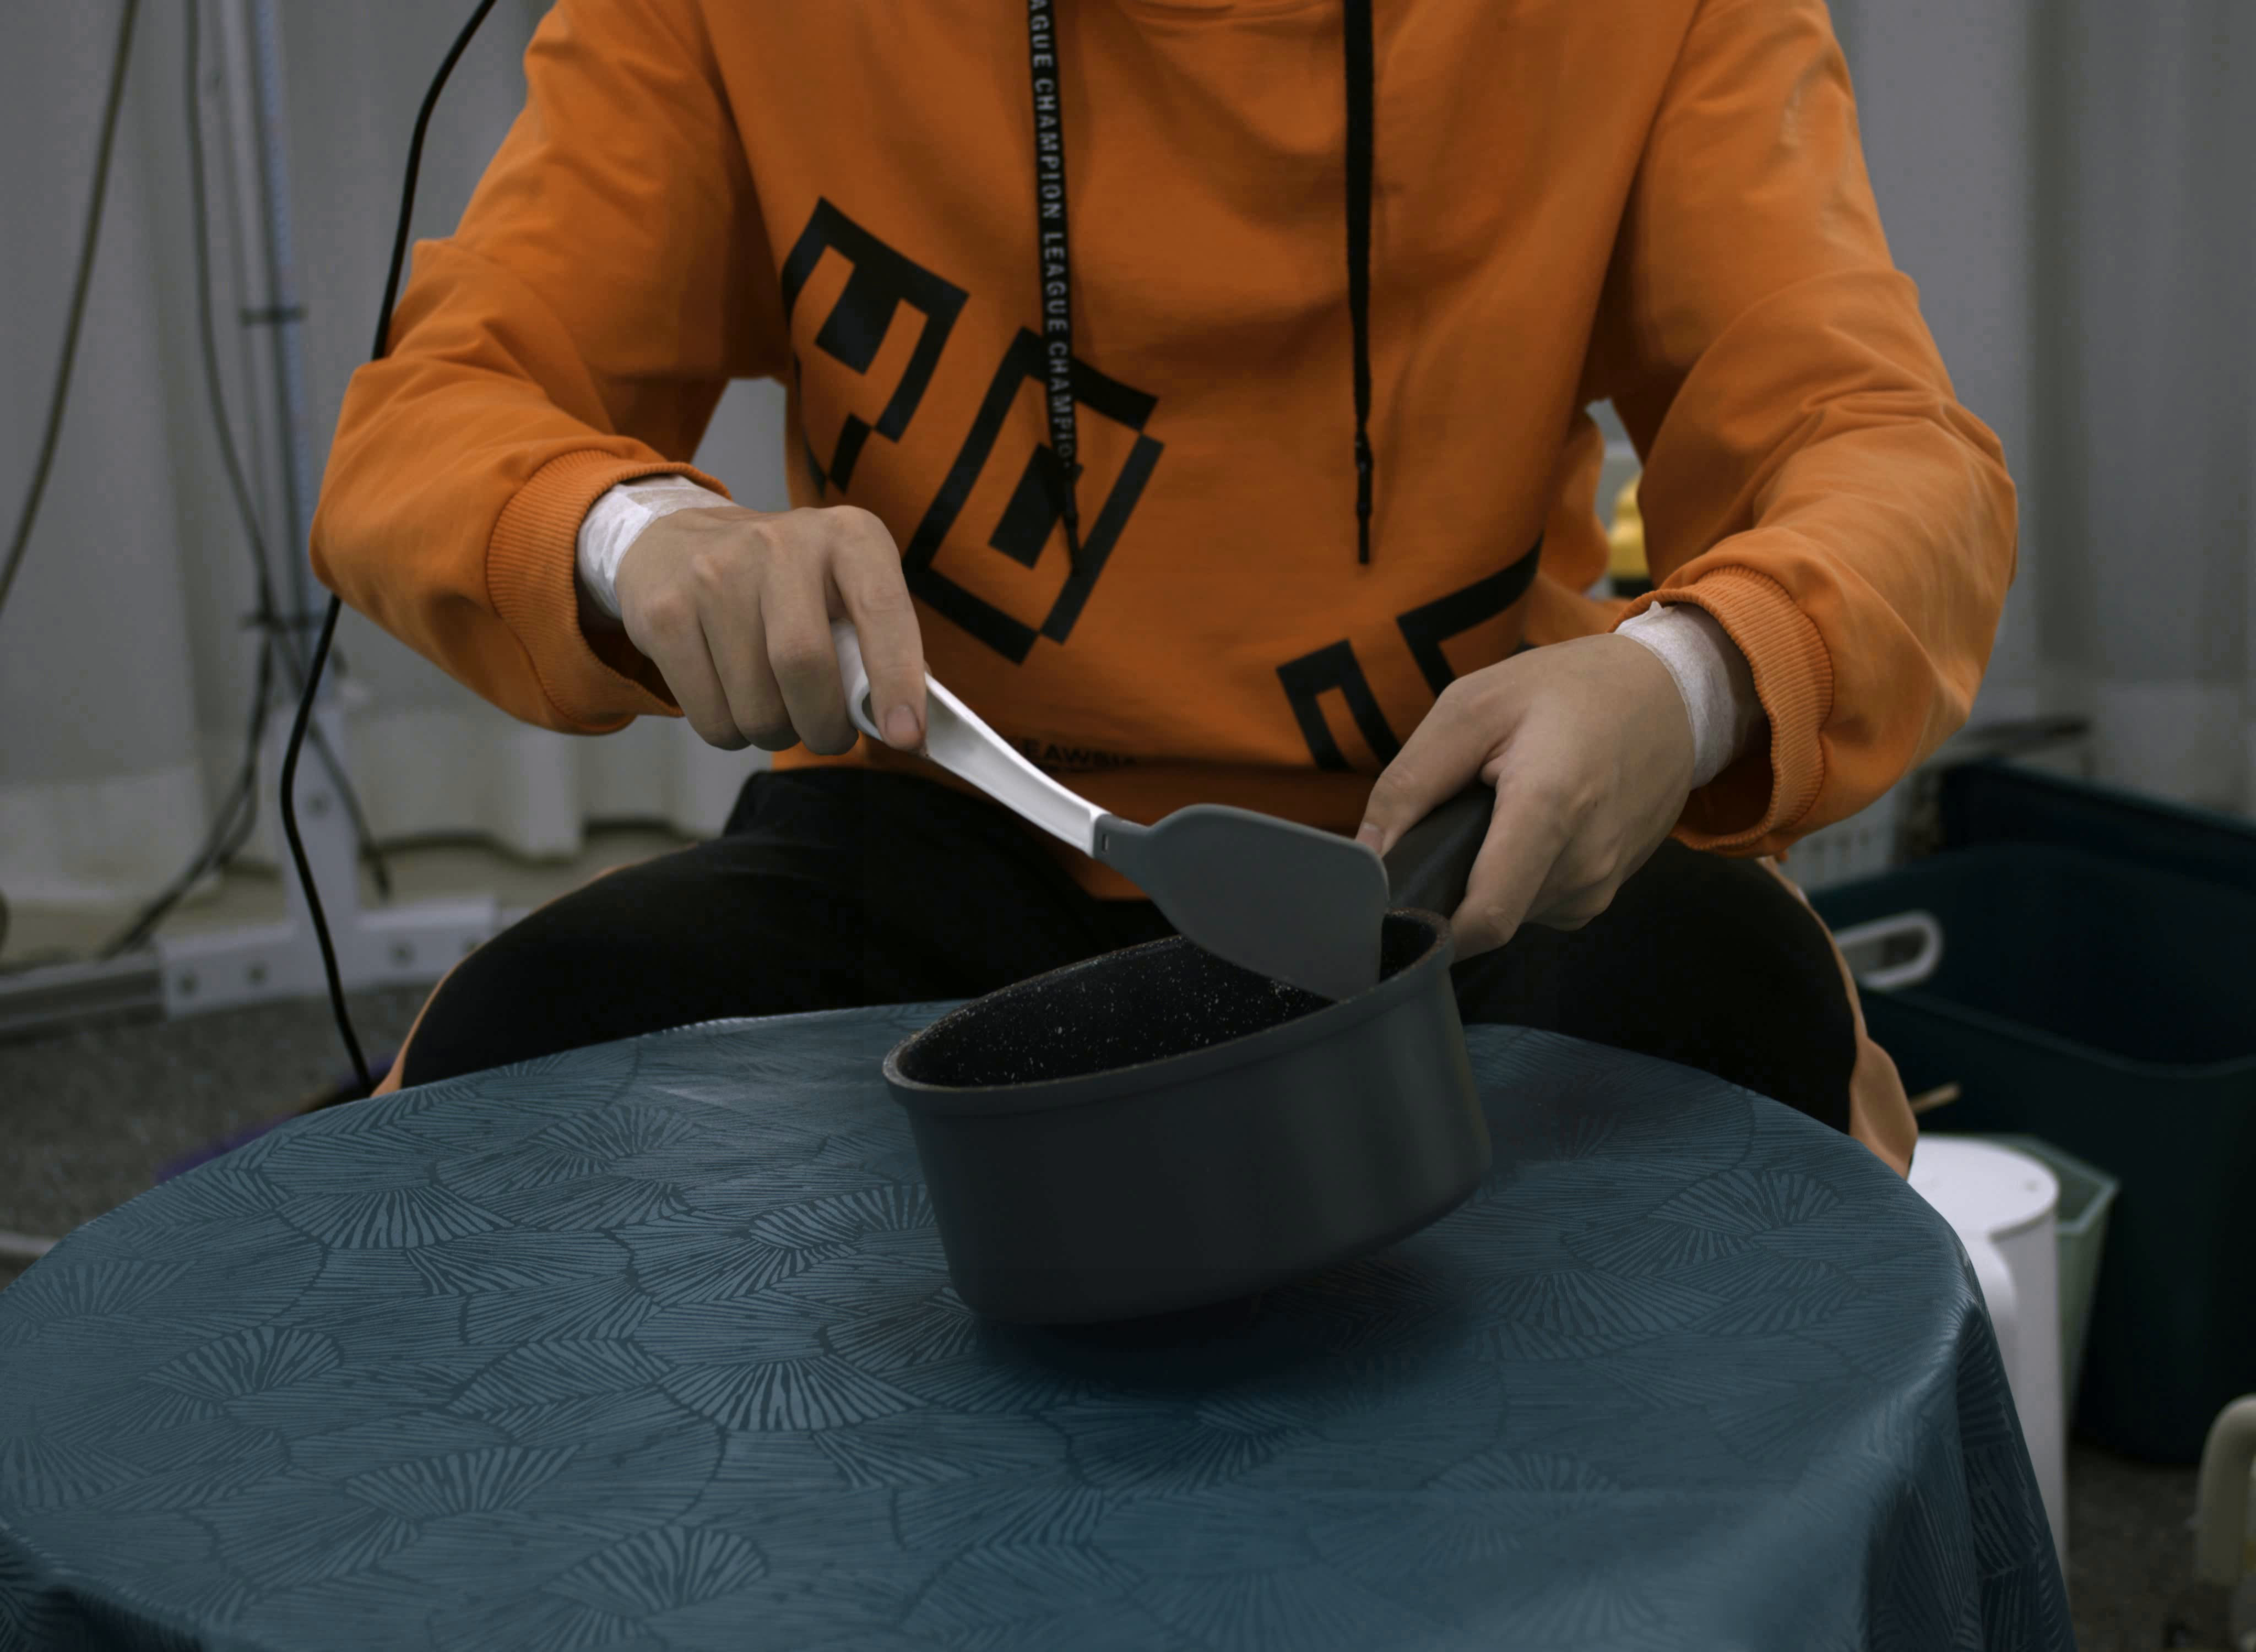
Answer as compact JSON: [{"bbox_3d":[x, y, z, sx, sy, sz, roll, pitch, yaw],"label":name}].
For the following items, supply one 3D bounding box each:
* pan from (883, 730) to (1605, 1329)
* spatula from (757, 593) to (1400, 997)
[{"bbox_3d":[0.061,0.059,1.656,0.172,0.086,0.329,-6,14,35],"label":"pan"},{"bbox_3d":[-0.019,-0.014,1.694,0.032,0.058,0.290,-8,24,-39],"label":"spatula"}]
